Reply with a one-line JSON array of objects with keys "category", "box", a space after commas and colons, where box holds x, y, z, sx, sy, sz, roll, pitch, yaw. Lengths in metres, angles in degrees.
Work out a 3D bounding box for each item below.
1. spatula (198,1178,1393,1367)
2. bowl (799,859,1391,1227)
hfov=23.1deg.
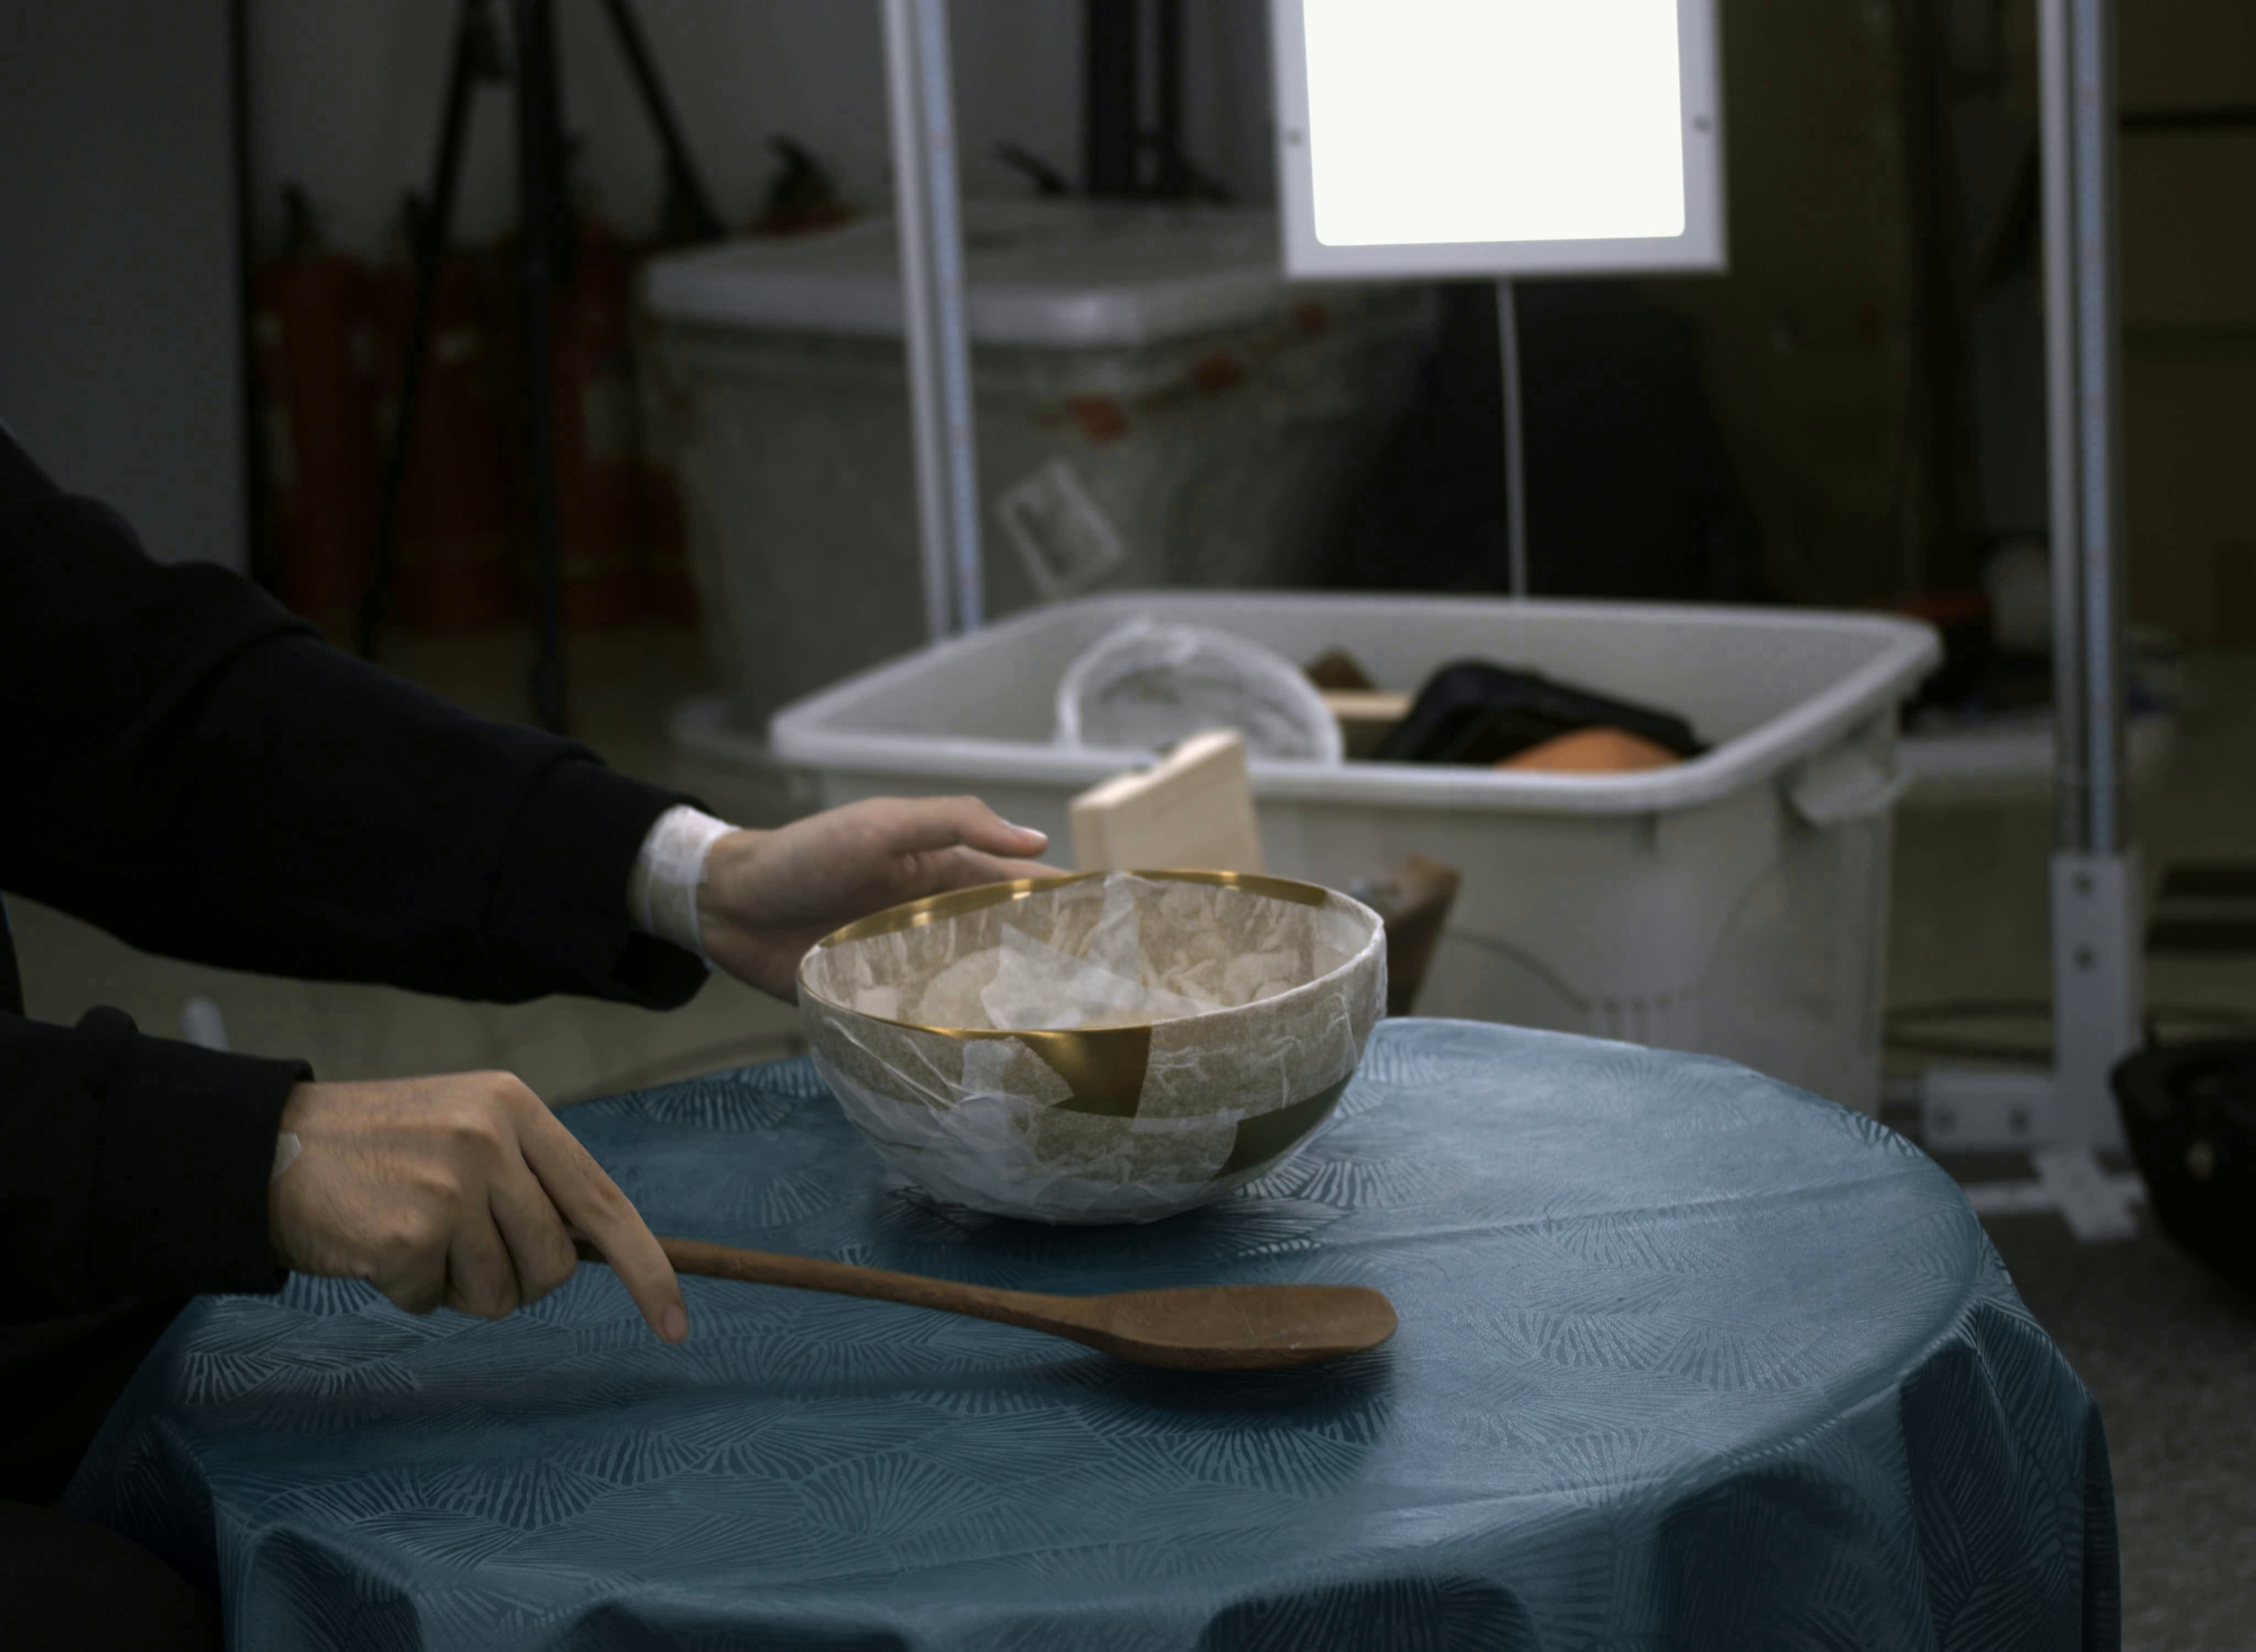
[{"category": "spatula", "box": [-0.108, 0.137, 1.731, 0.388, 0.016, 0.095, 6, 10, 11]}, {"category": "bowl", "box": [-0.010, 0.081, 1.887, 0.214, 0.095, 0.214, -6, 15, 0]}]
